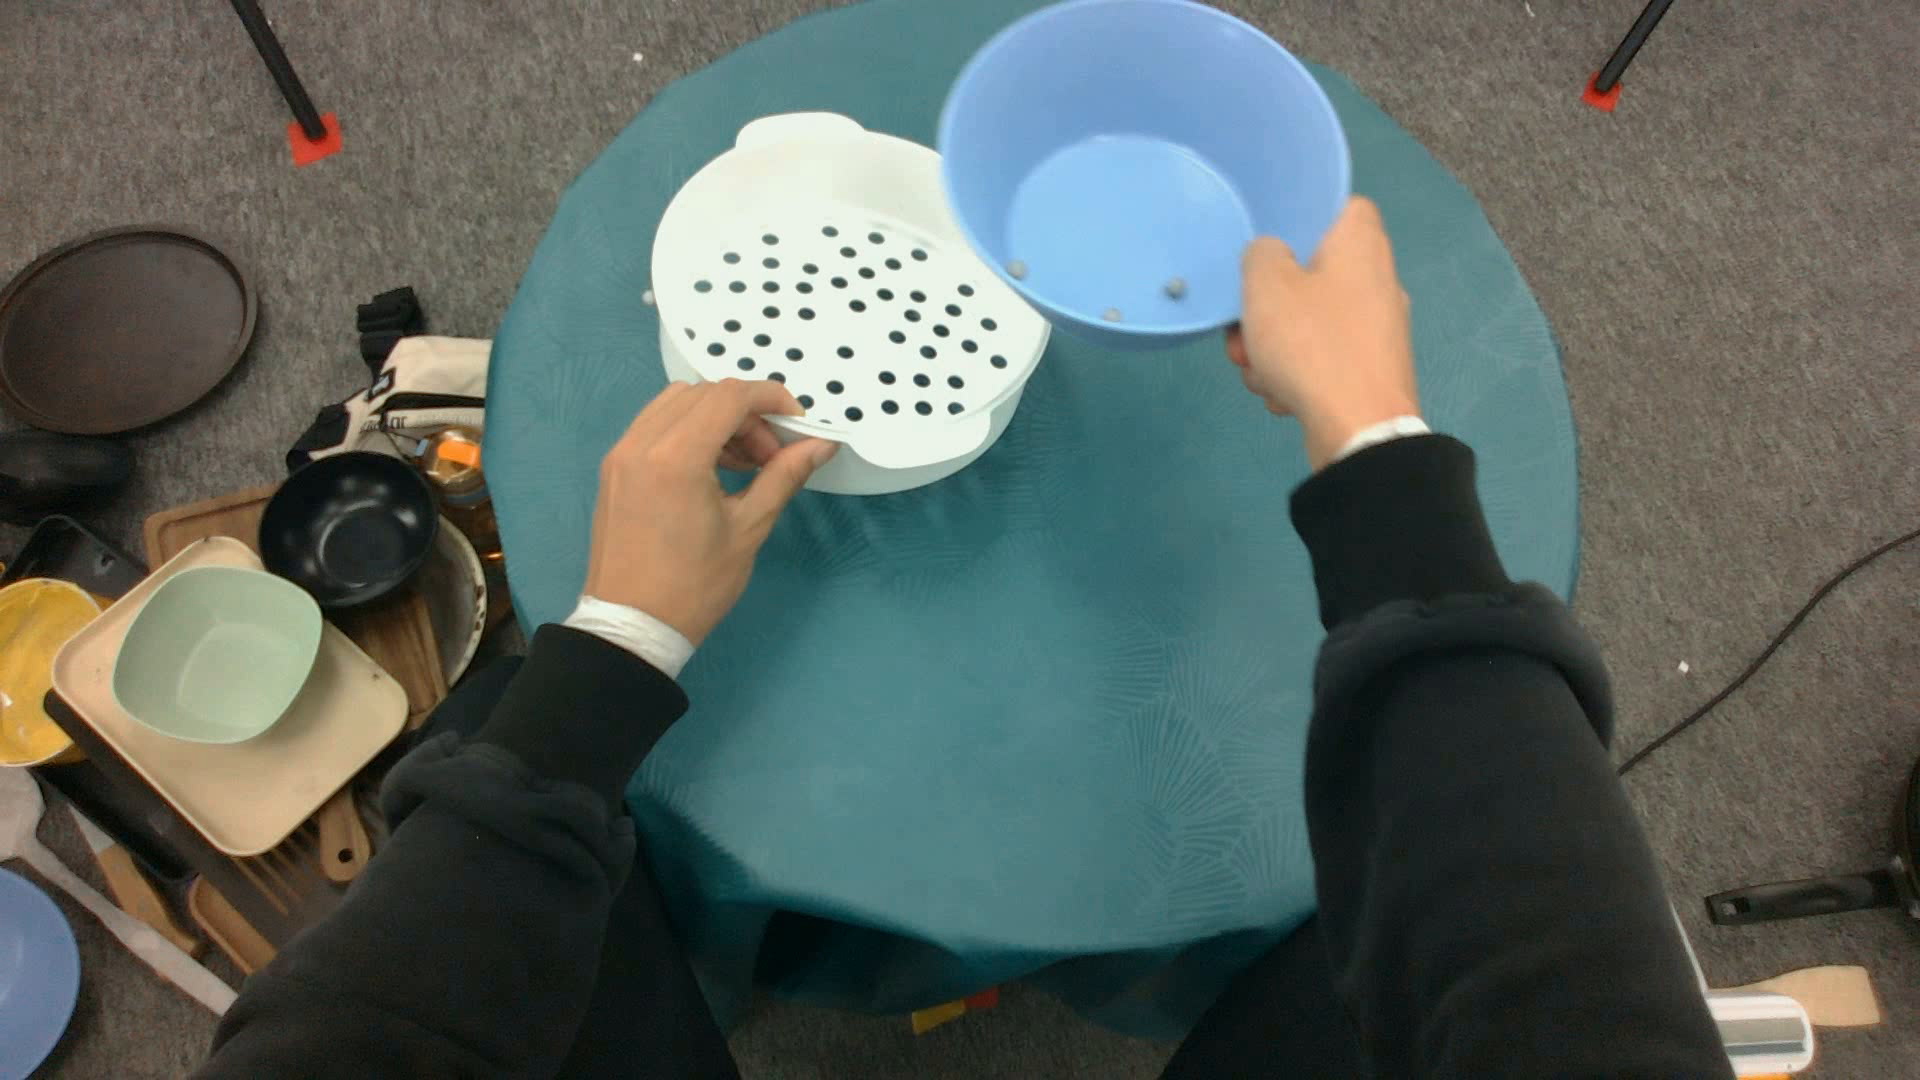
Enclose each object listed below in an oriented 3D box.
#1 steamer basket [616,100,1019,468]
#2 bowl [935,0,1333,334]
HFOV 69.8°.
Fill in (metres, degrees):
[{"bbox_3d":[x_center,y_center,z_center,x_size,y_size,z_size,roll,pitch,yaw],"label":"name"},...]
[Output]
[{"bbox_3d":[-0.074,-0.129,0.713,0.202,0.069,0.231,-14,60,-21],"label":"steamer basket"},{"bbox_3d":[0.077,-0.162,0.635,0.176,0.070,0.176,0,68,0],"label":"bowl"}]
